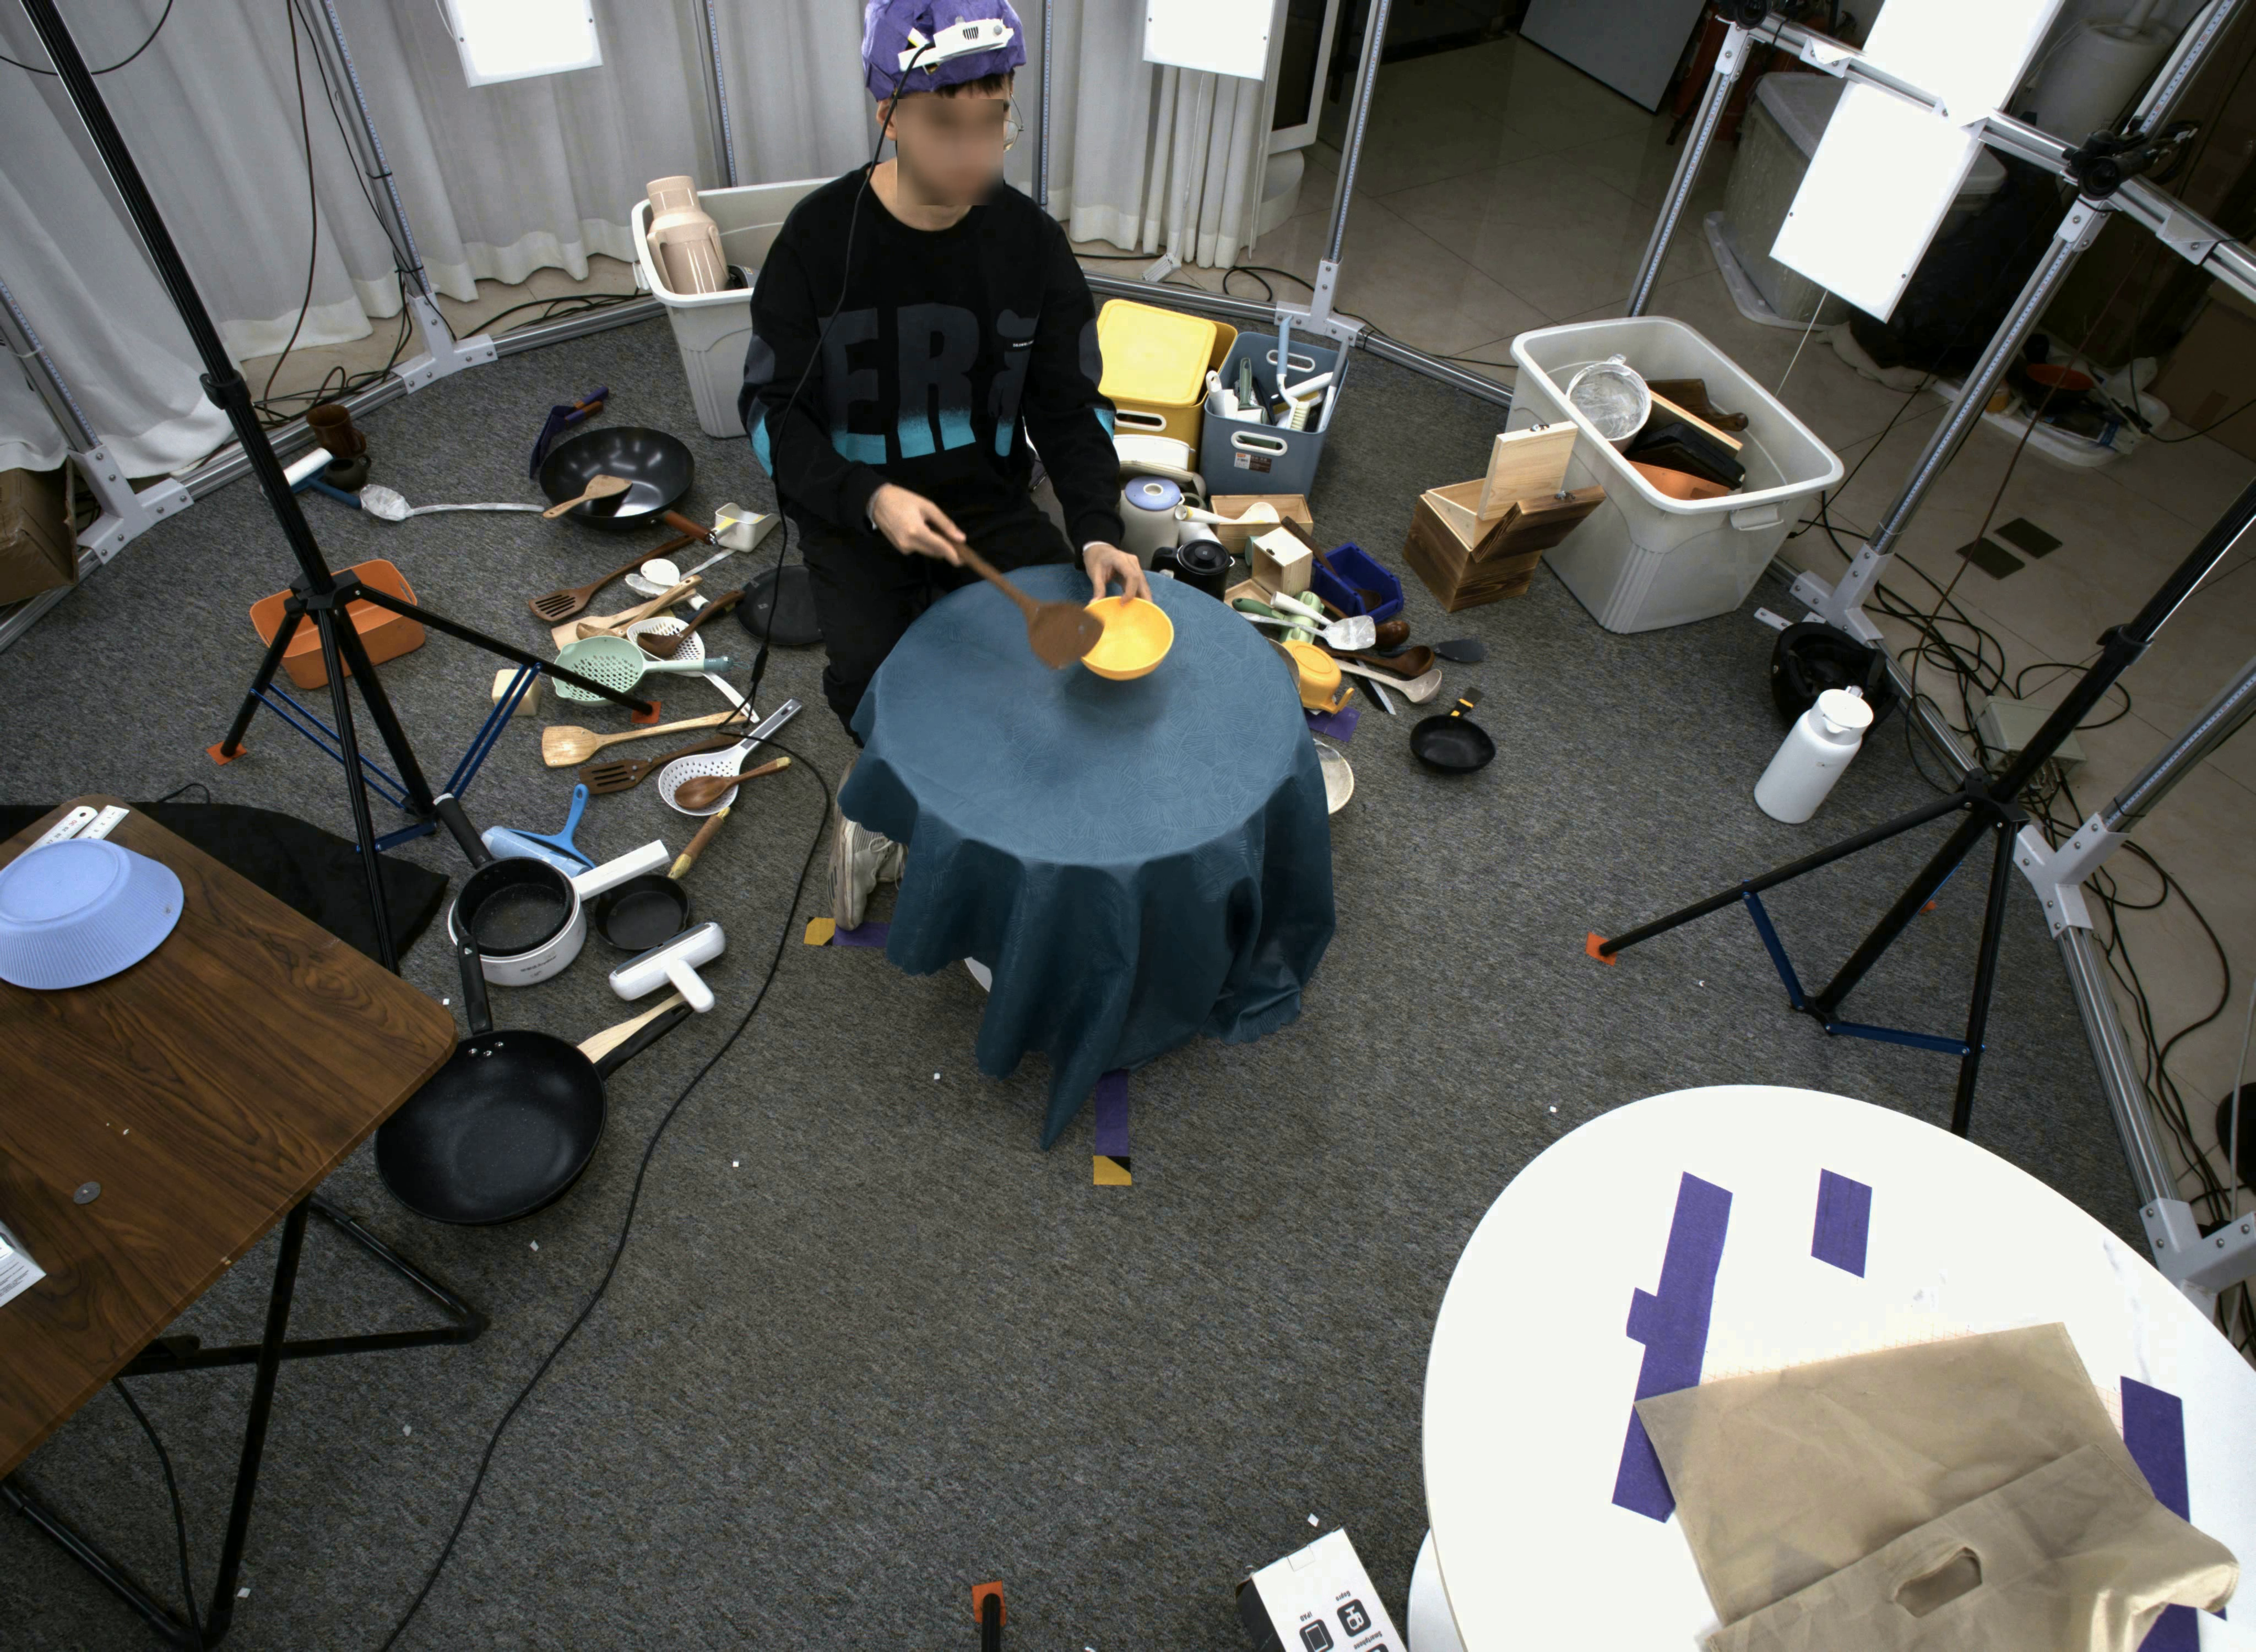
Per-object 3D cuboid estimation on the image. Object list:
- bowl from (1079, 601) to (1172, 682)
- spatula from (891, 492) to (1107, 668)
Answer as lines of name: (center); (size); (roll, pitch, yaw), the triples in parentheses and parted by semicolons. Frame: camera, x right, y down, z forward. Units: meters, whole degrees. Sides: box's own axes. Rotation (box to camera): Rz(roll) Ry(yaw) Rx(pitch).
bowl: (-0.011, -0.252, 1.833); (0.145, 0.058, 0.149); (1, 51, -2)
spatula: (-0.189, -0.347, 1.752); (0.390, 0.015, 0.096); (40, 81, 19)
